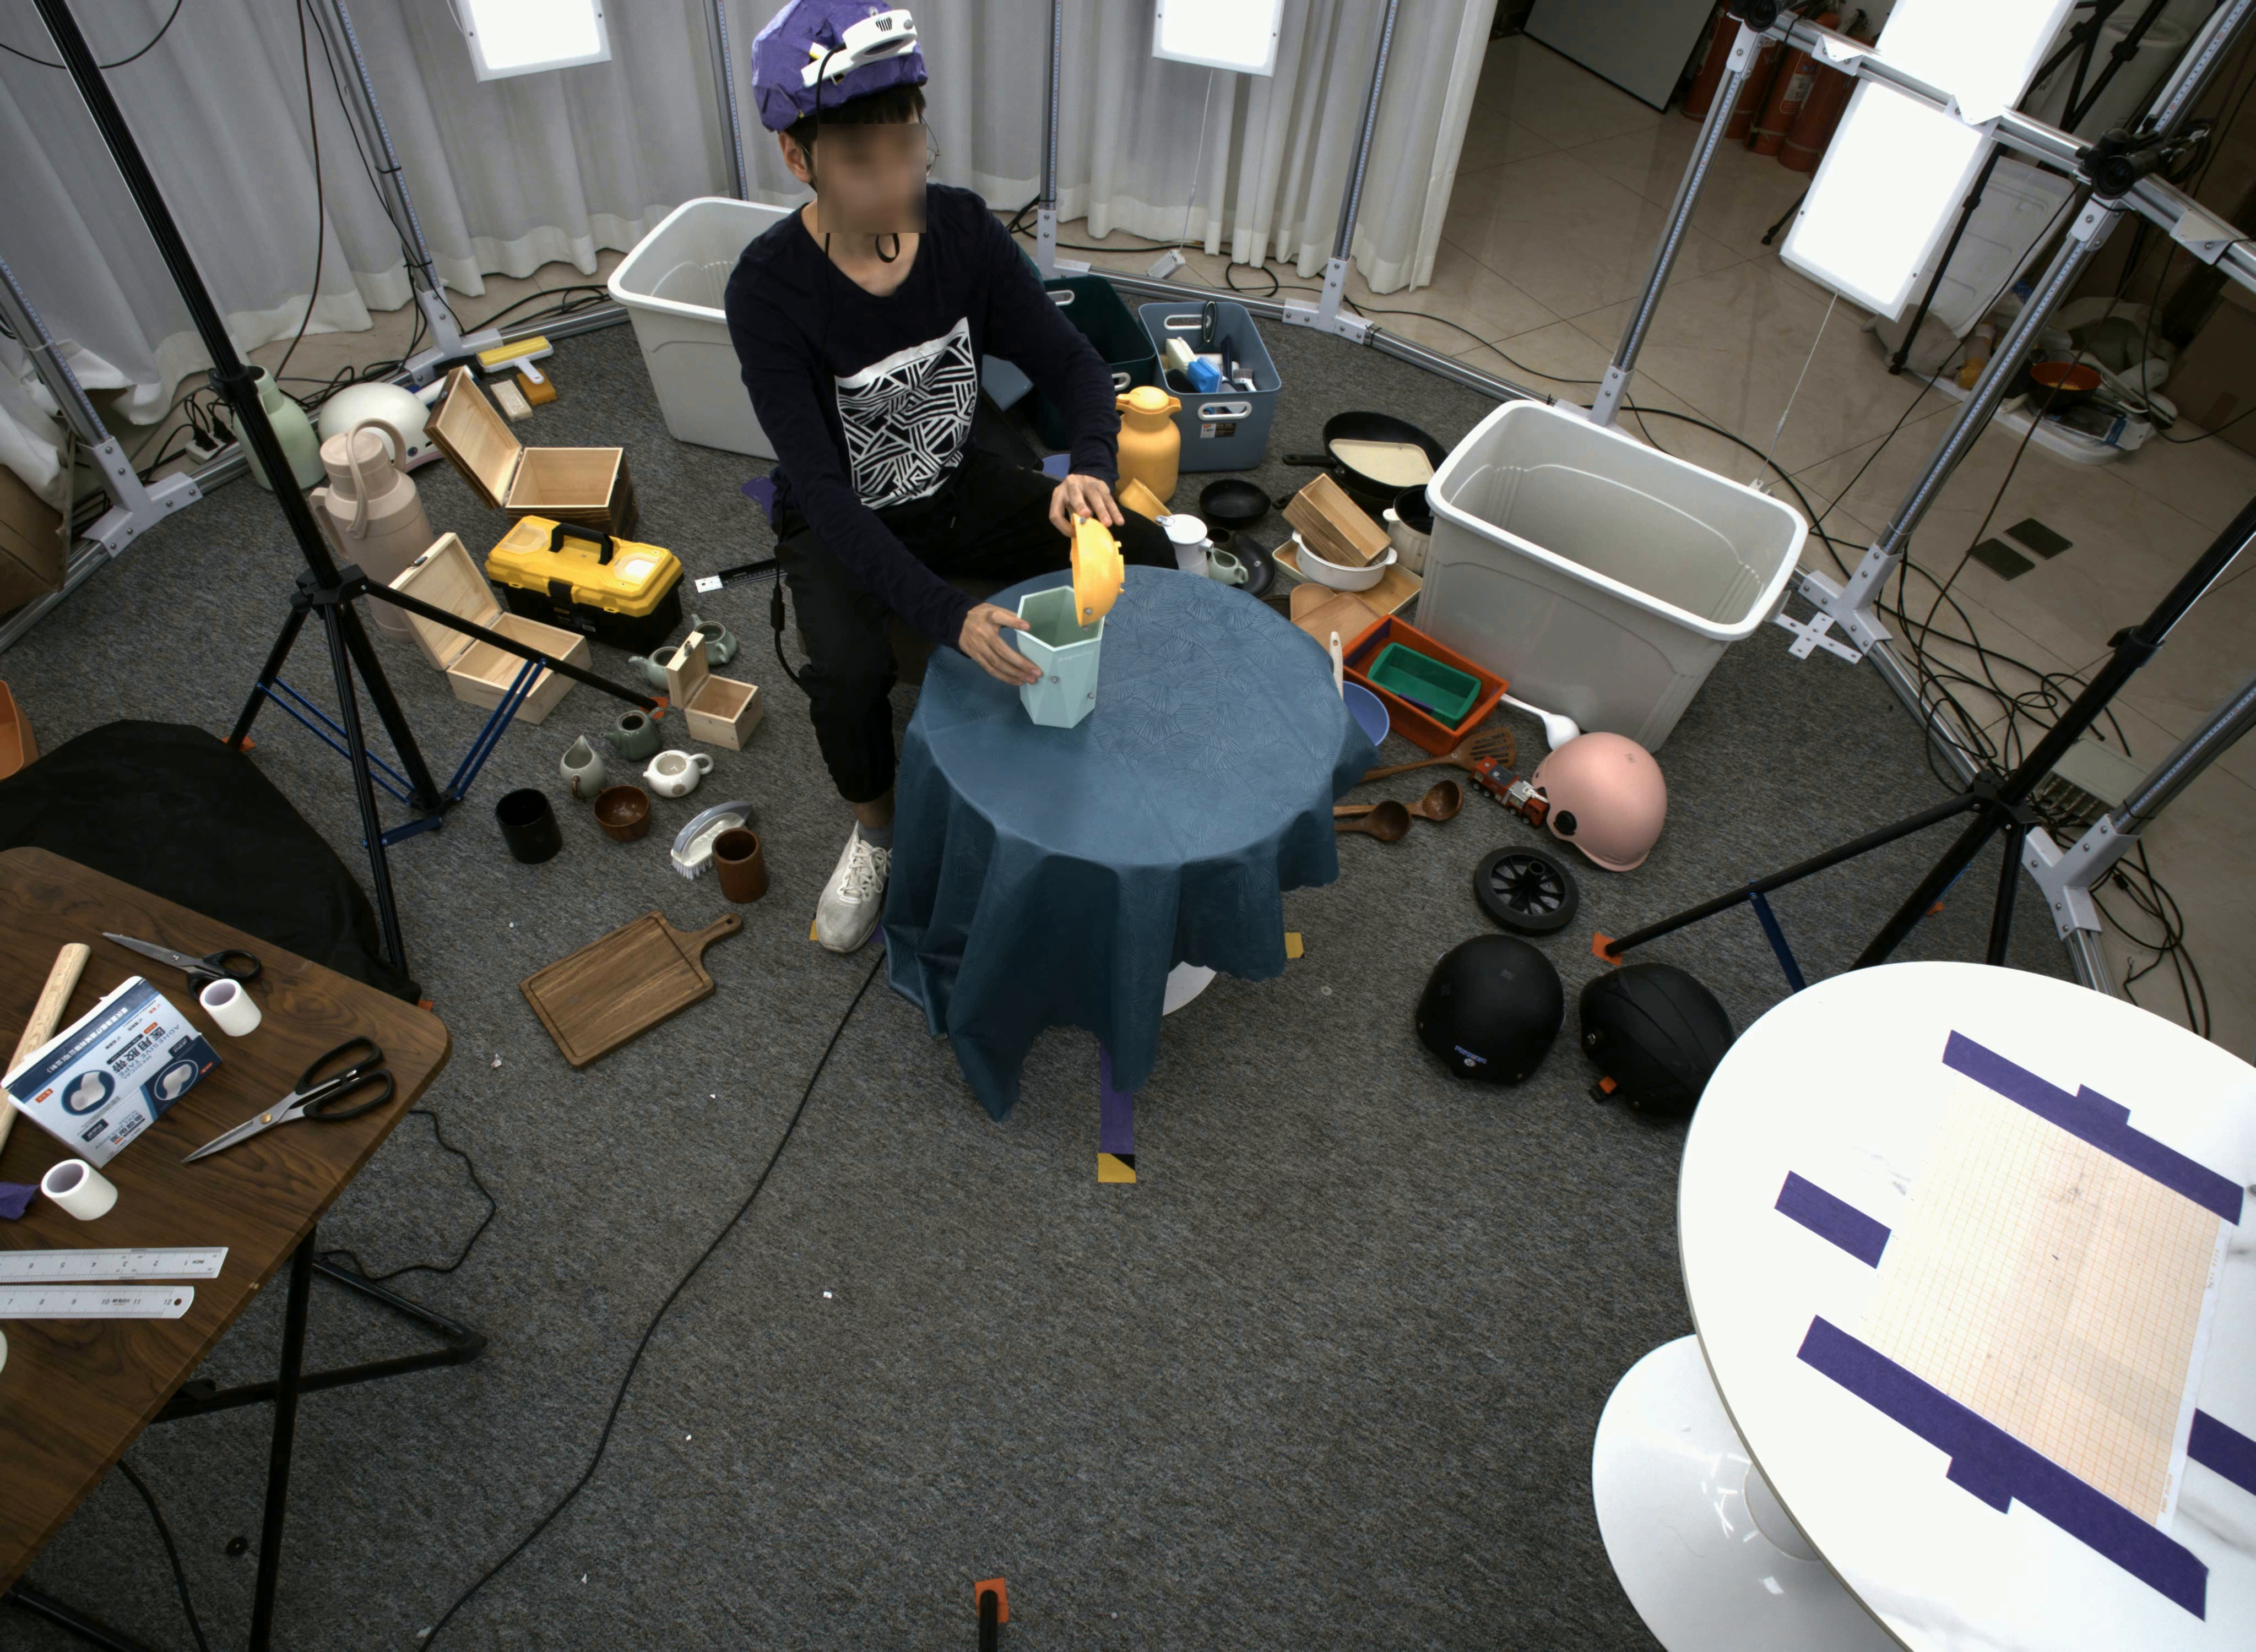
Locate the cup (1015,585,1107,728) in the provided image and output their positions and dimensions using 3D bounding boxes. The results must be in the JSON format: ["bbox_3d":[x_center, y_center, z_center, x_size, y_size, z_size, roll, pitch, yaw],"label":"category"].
[{"bbox_3d":[-0.092,-0.225,1.751,0.131,0.159,0.118,-17,51,-19],"label":"cup"}]

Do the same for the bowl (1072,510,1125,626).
[{"bbox_3d":[-0.037,-0.330,1.646,0.060,0.142,0.149,-2,49,-6],"label":"bowl"}]
